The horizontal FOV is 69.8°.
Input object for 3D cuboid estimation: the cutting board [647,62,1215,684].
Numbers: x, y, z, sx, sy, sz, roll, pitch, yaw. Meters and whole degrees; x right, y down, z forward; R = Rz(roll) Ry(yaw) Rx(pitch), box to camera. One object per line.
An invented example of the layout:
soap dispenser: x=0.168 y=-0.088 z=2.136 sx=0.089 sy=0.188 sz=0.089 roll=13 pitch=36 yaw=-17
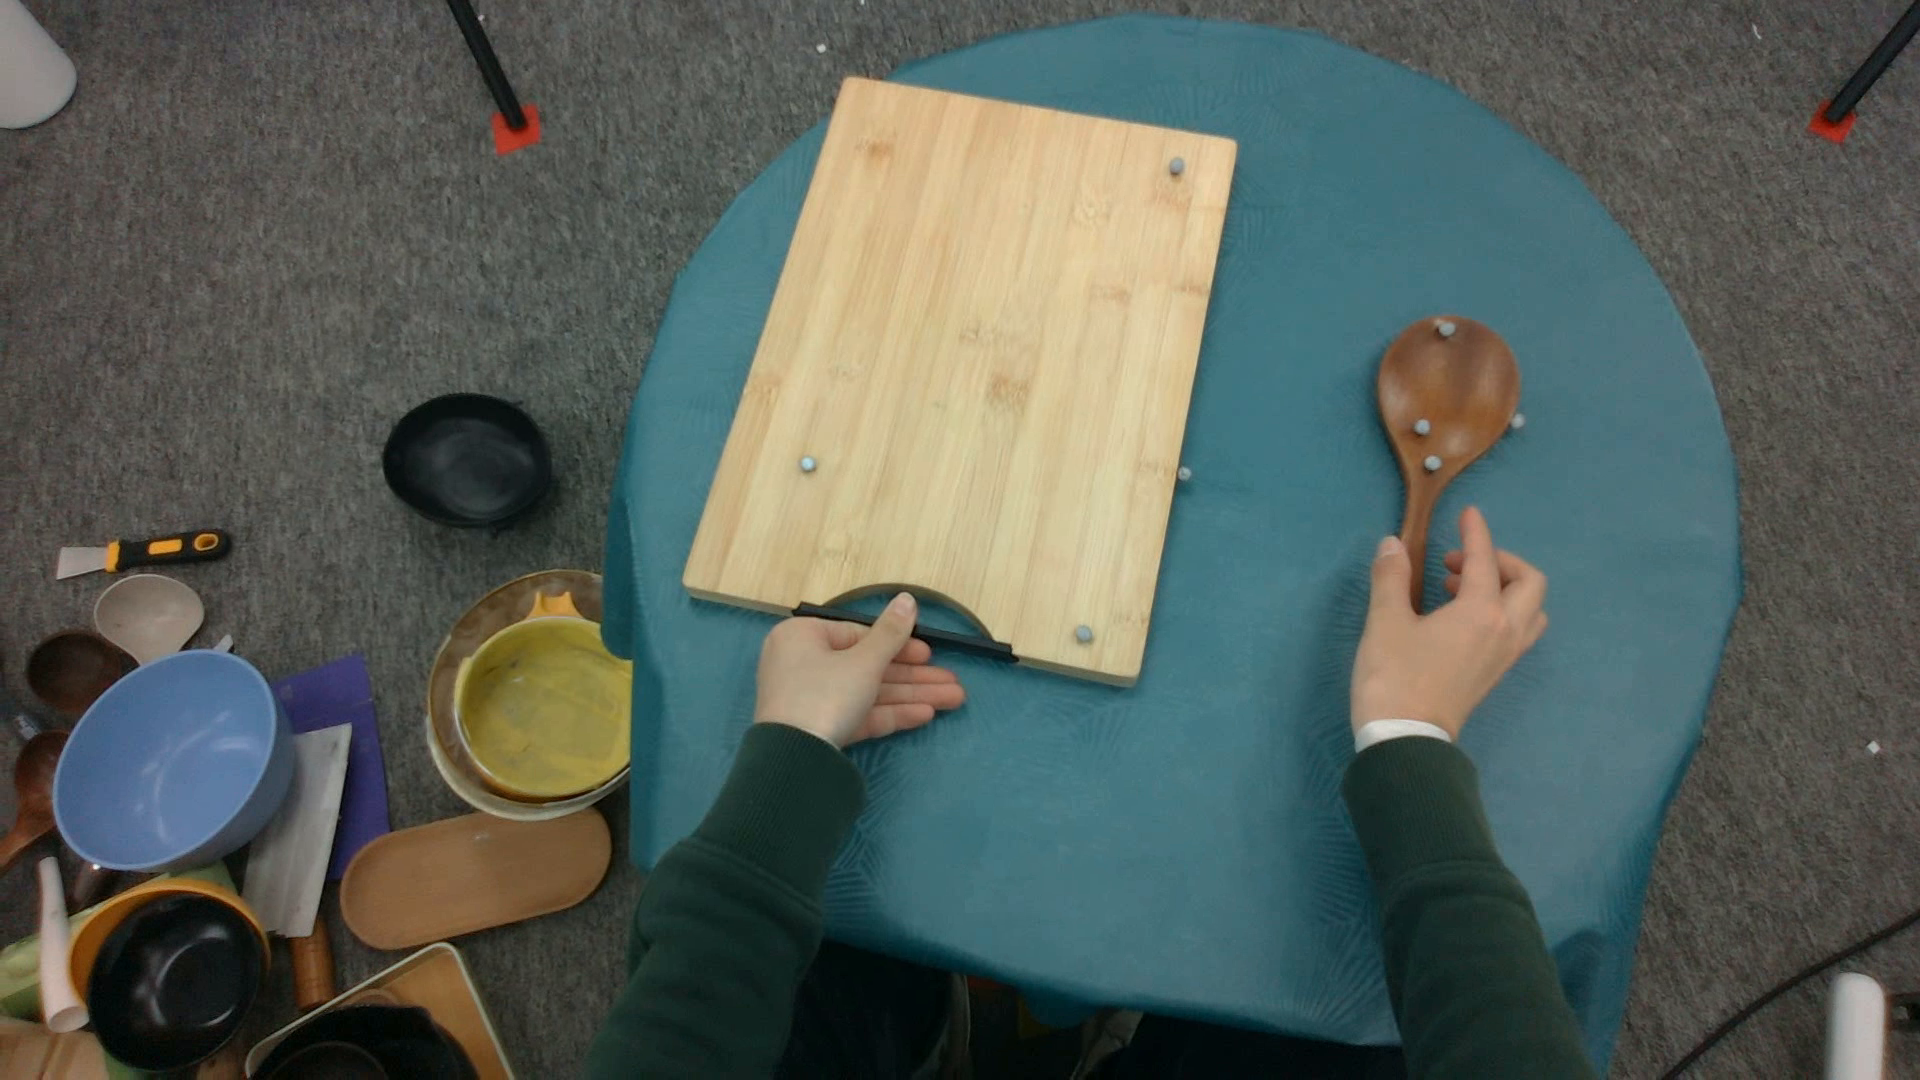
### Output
cutting board: x=-0.005 y=-0.107 z=0.764 sx=0.250 sy=0.023 sz=0.350 roll=10 pitch=68 yaw=5

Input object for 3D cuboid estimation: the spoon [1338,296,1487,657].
spoon: x=0.232 y=-0.037 z=0.731 sx=0.075 sy=0.017 sz=0.216 roll=16 pitch=68 yaw=5
